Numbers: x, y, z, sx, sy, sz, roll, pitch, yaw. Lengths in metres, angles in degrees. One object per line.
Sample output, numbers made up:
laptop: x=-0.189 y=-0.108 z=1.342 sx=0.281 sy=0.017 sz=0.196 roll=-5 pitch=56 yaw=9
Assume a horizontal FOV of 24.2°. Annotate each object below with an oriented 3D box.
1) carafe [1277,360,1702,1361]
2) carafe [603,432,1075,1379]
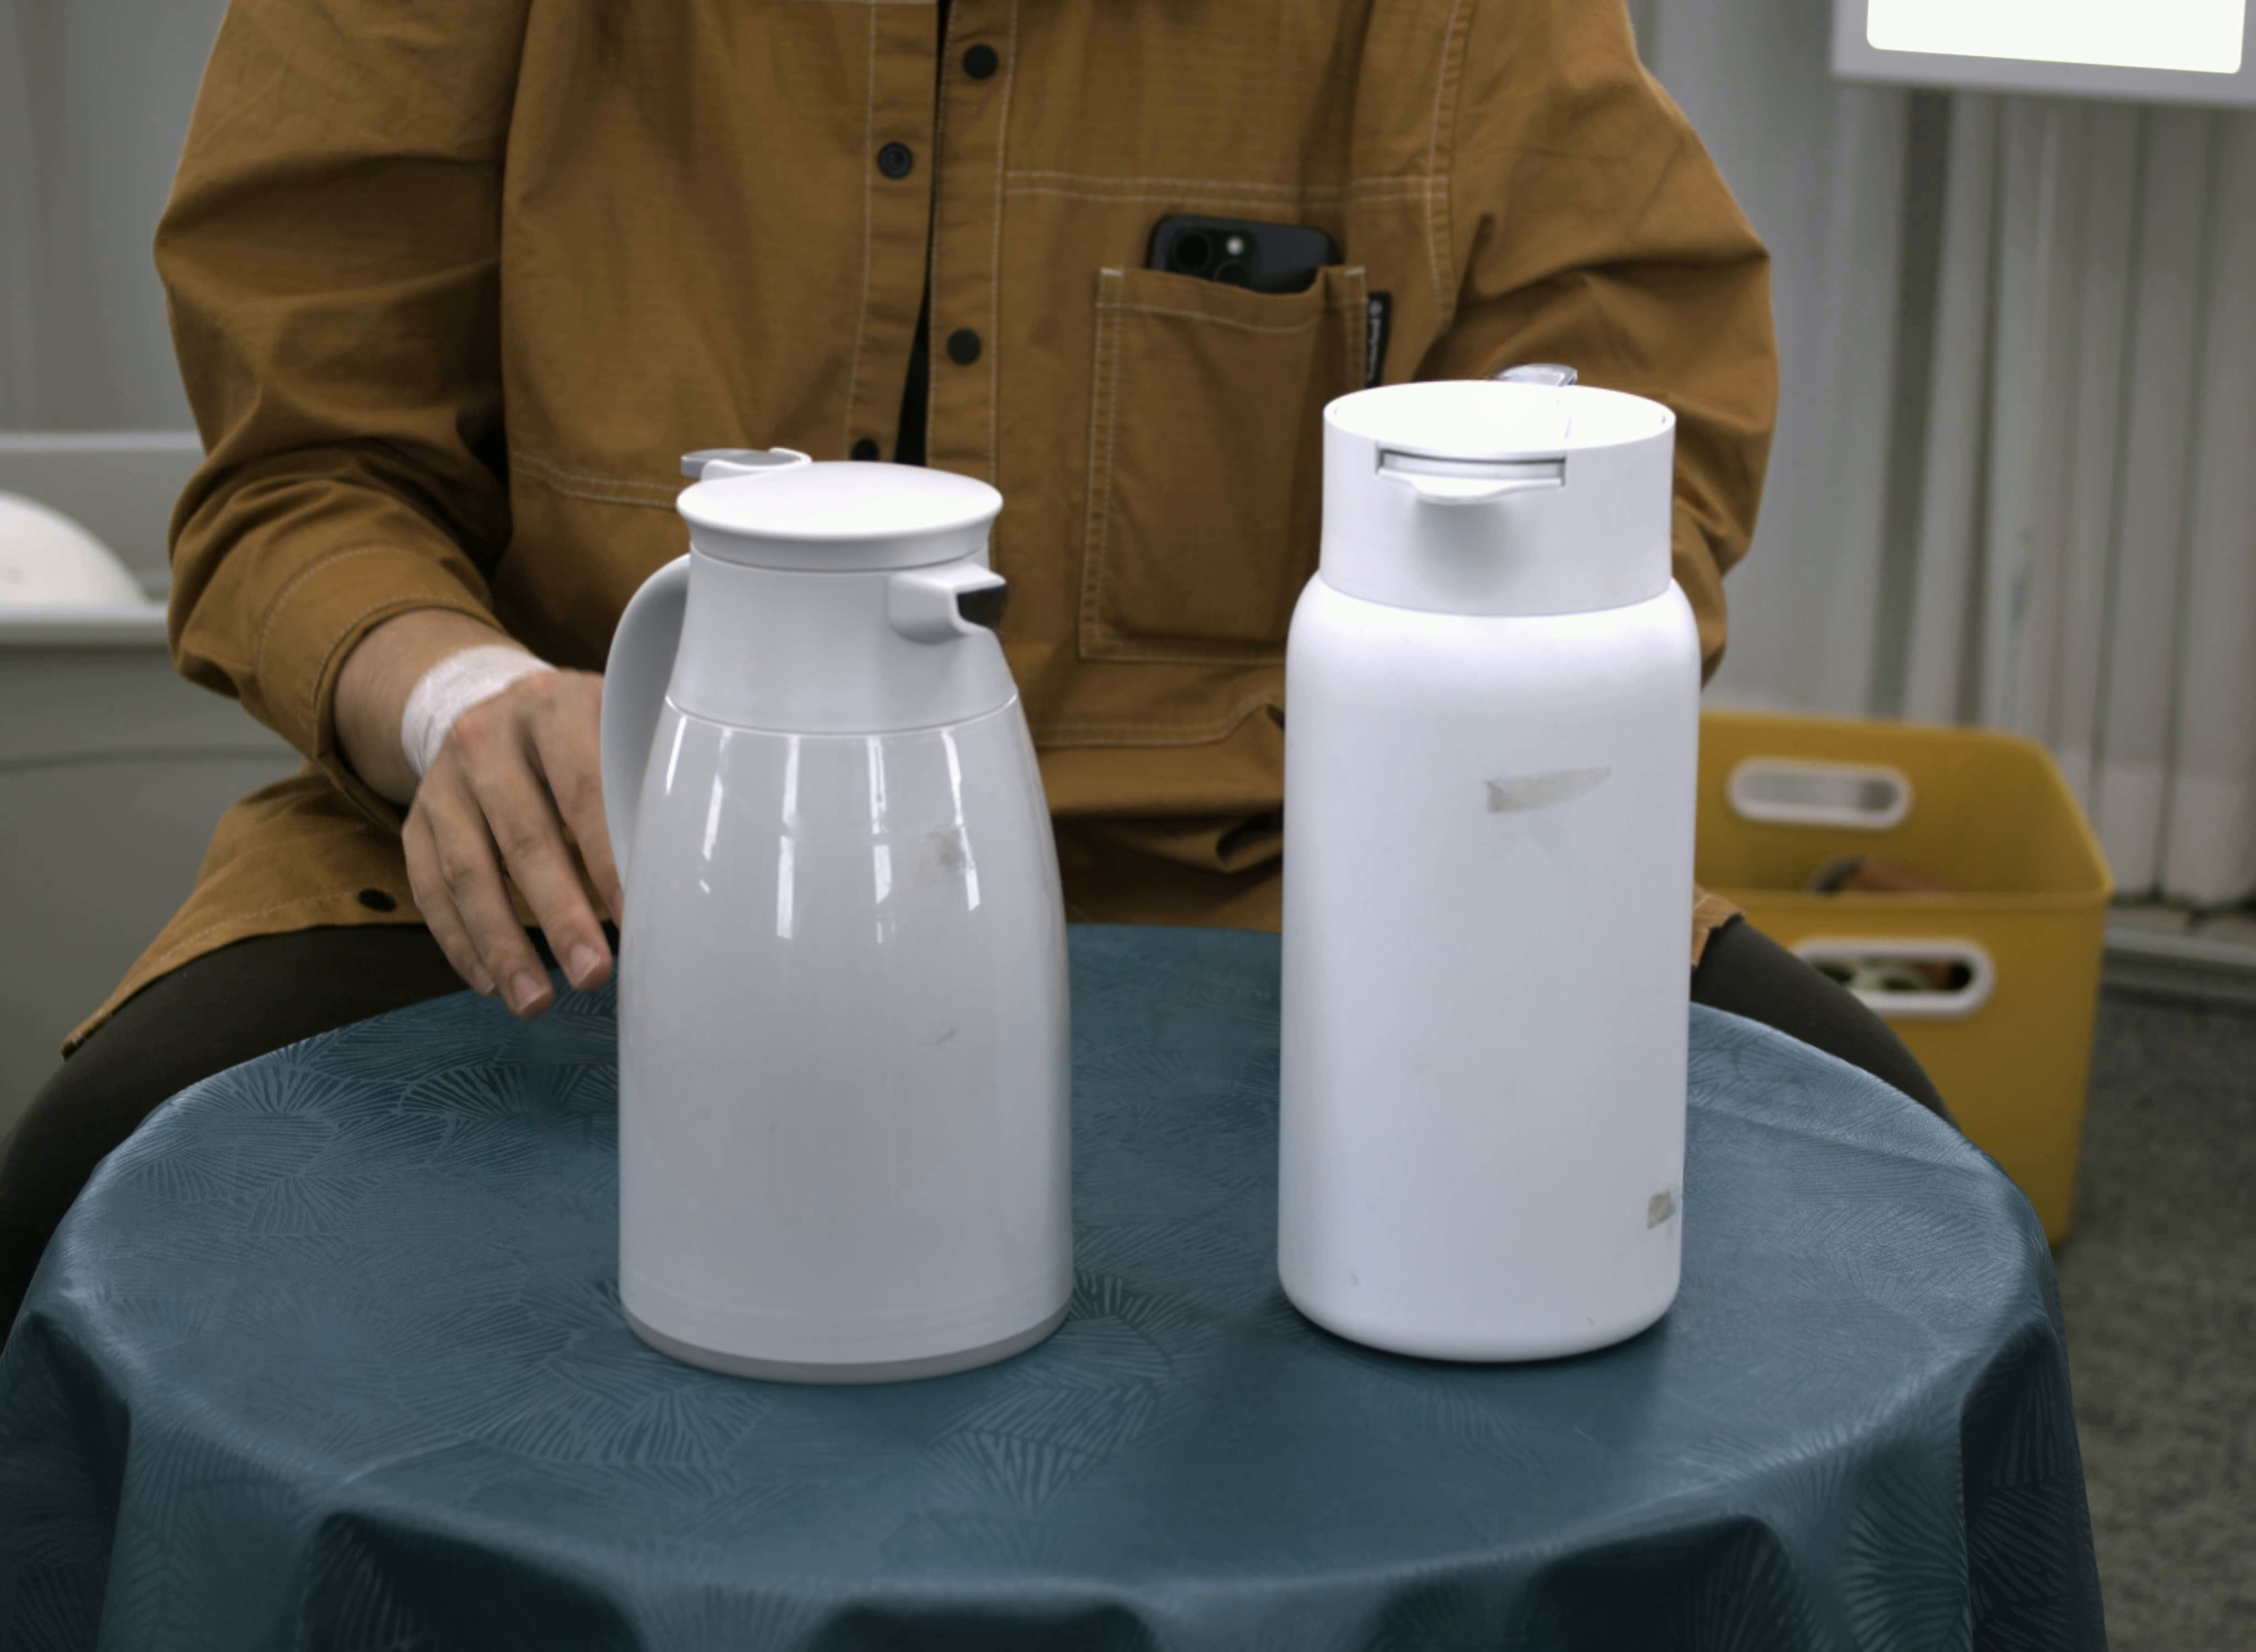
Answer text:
carafe: x=0.105 y=0.005 z=1.510 sx=0.123 sy=0.271 sz=0.172 roll=2 pitch=16 yaw=14
carafe: x=-0.094 y=0.014 z=1.502 sx=0.133 sy=0.250 sz=0.165 roll=-13 pitch=20 yaw=-39
